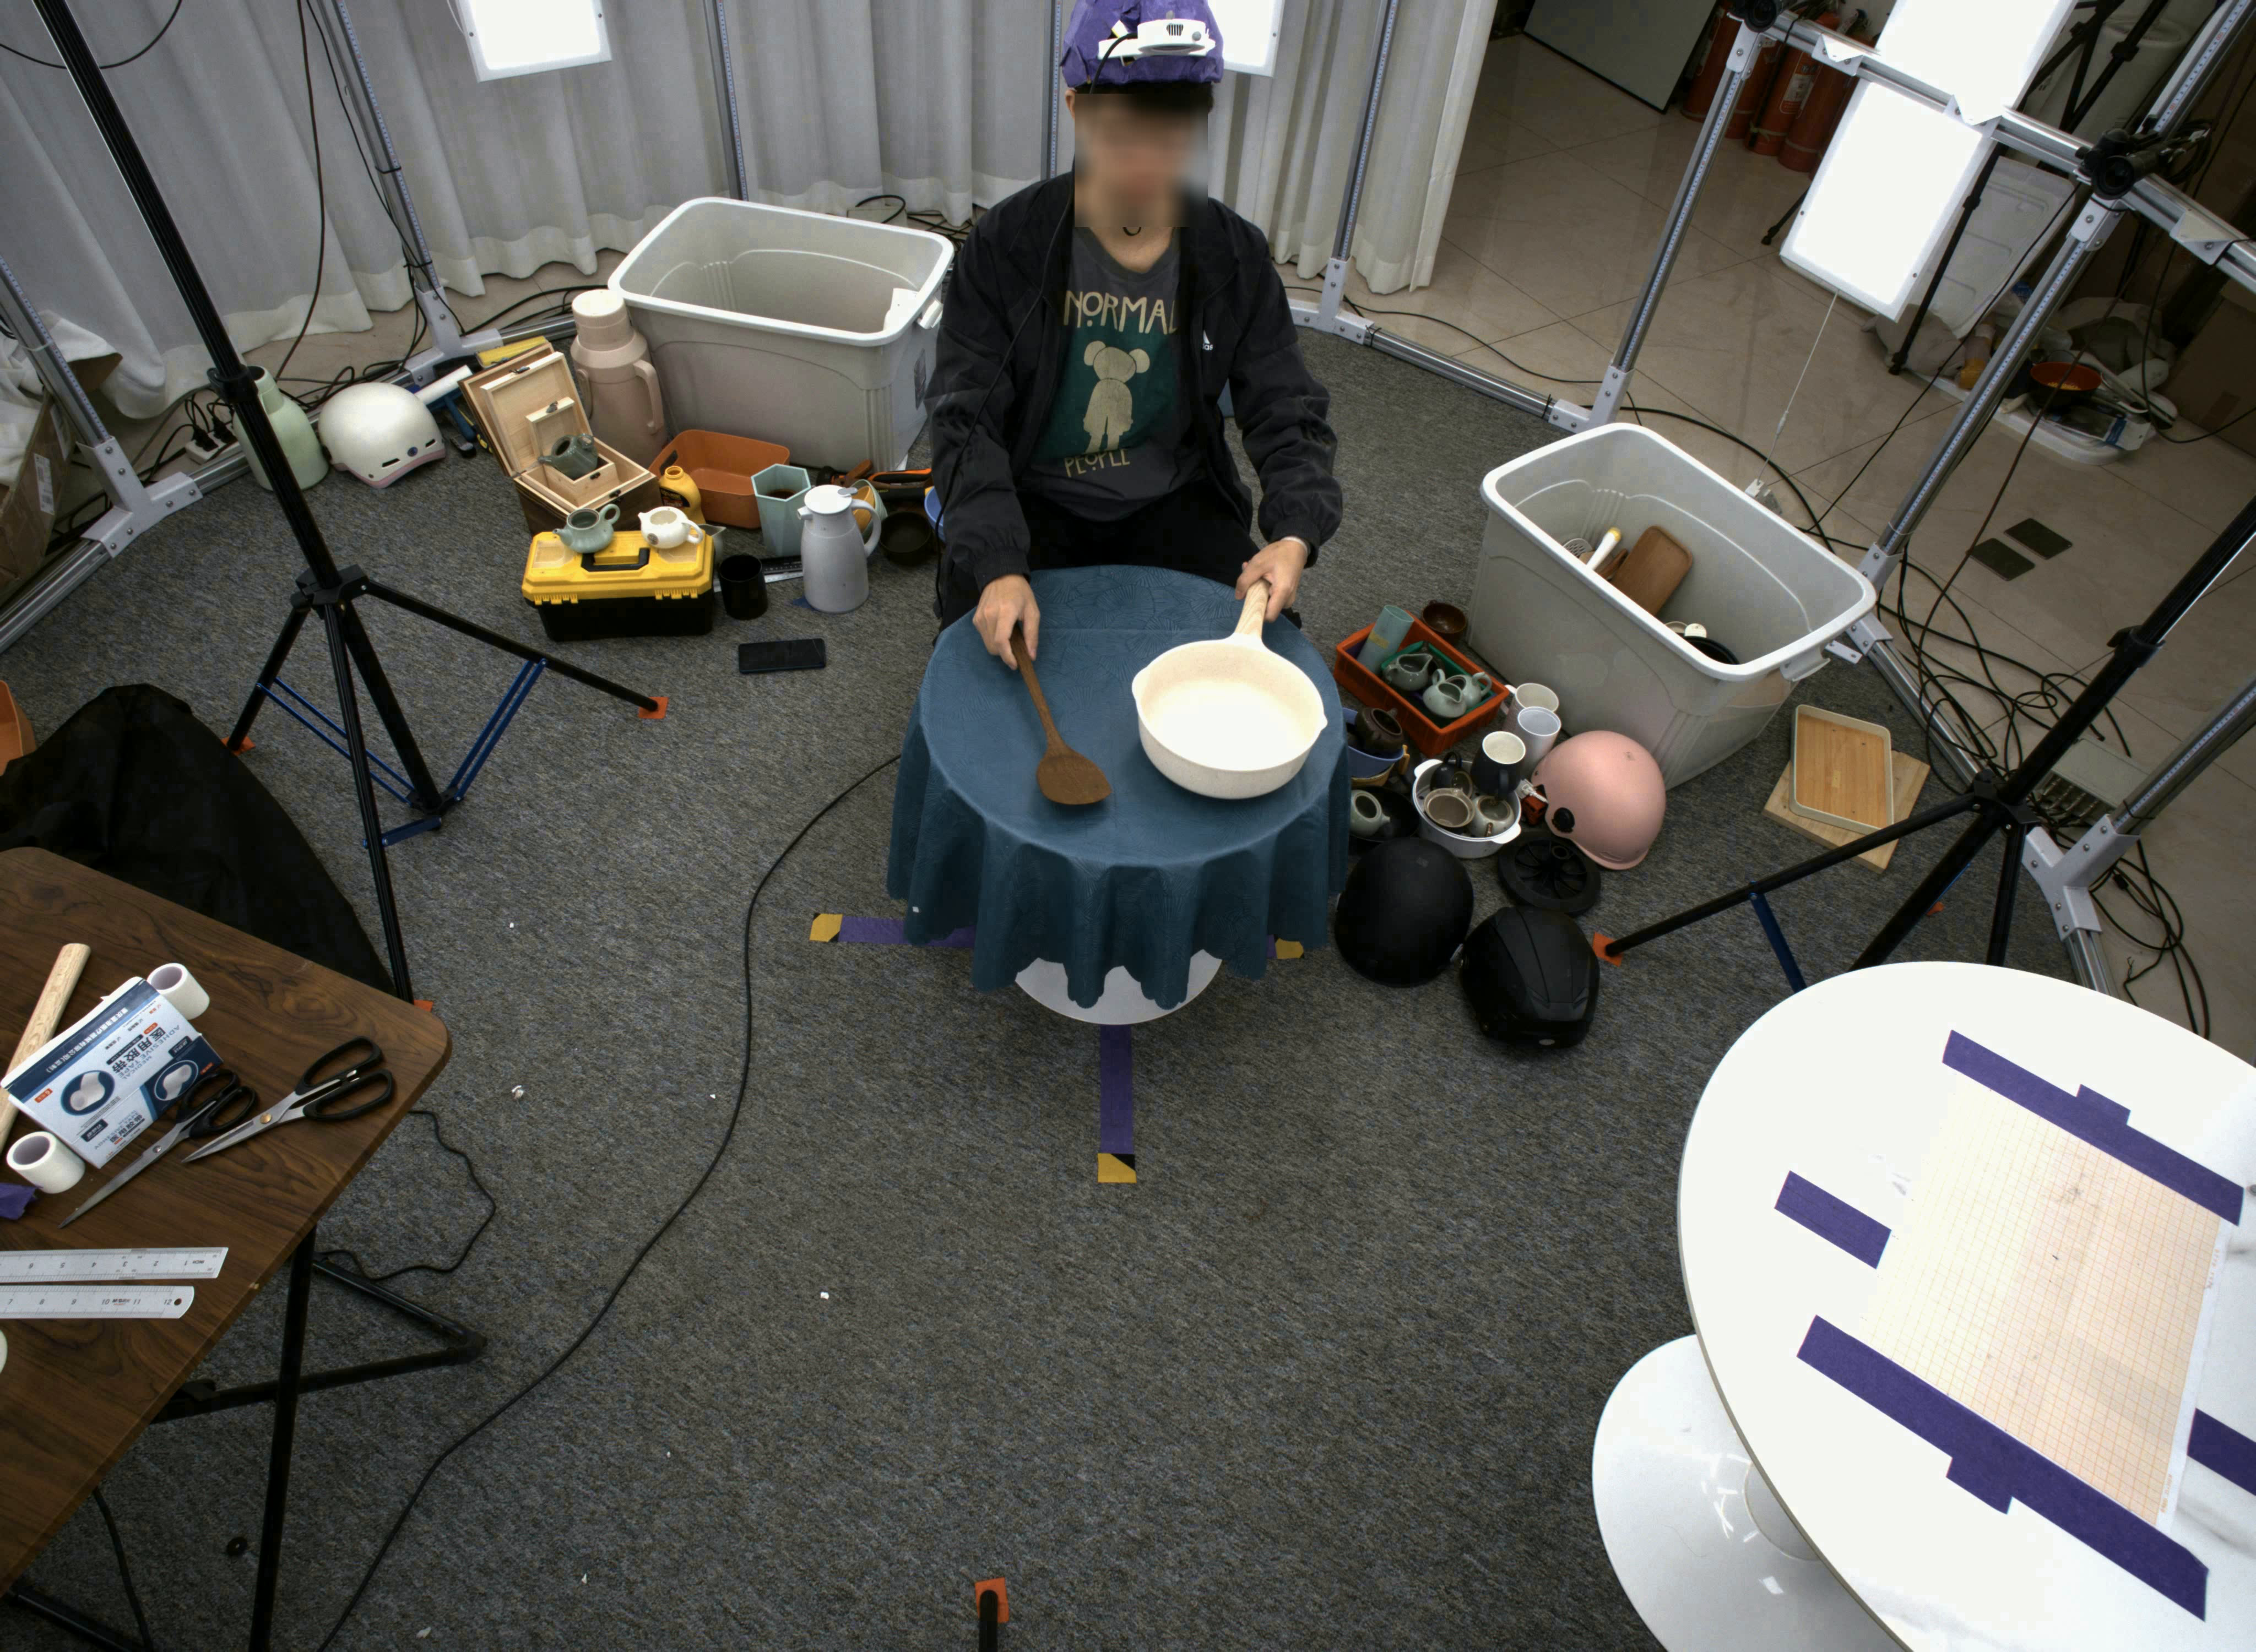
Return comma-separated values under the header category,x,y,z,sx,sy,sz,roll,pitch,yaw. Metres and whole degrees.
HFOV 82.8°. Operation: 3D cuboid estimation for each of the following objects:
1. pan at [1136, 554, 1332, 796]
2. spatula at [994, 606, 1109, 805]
category,x,y,z,sx,sy,sz,roll,pitch,yaw
pan,0.159,-0.212,1.785,0.264,0.099,0.445,11,47,7
spatula,-0.124,-0.175,1.763,0.096,0.015,0.395,-6,51,-21
